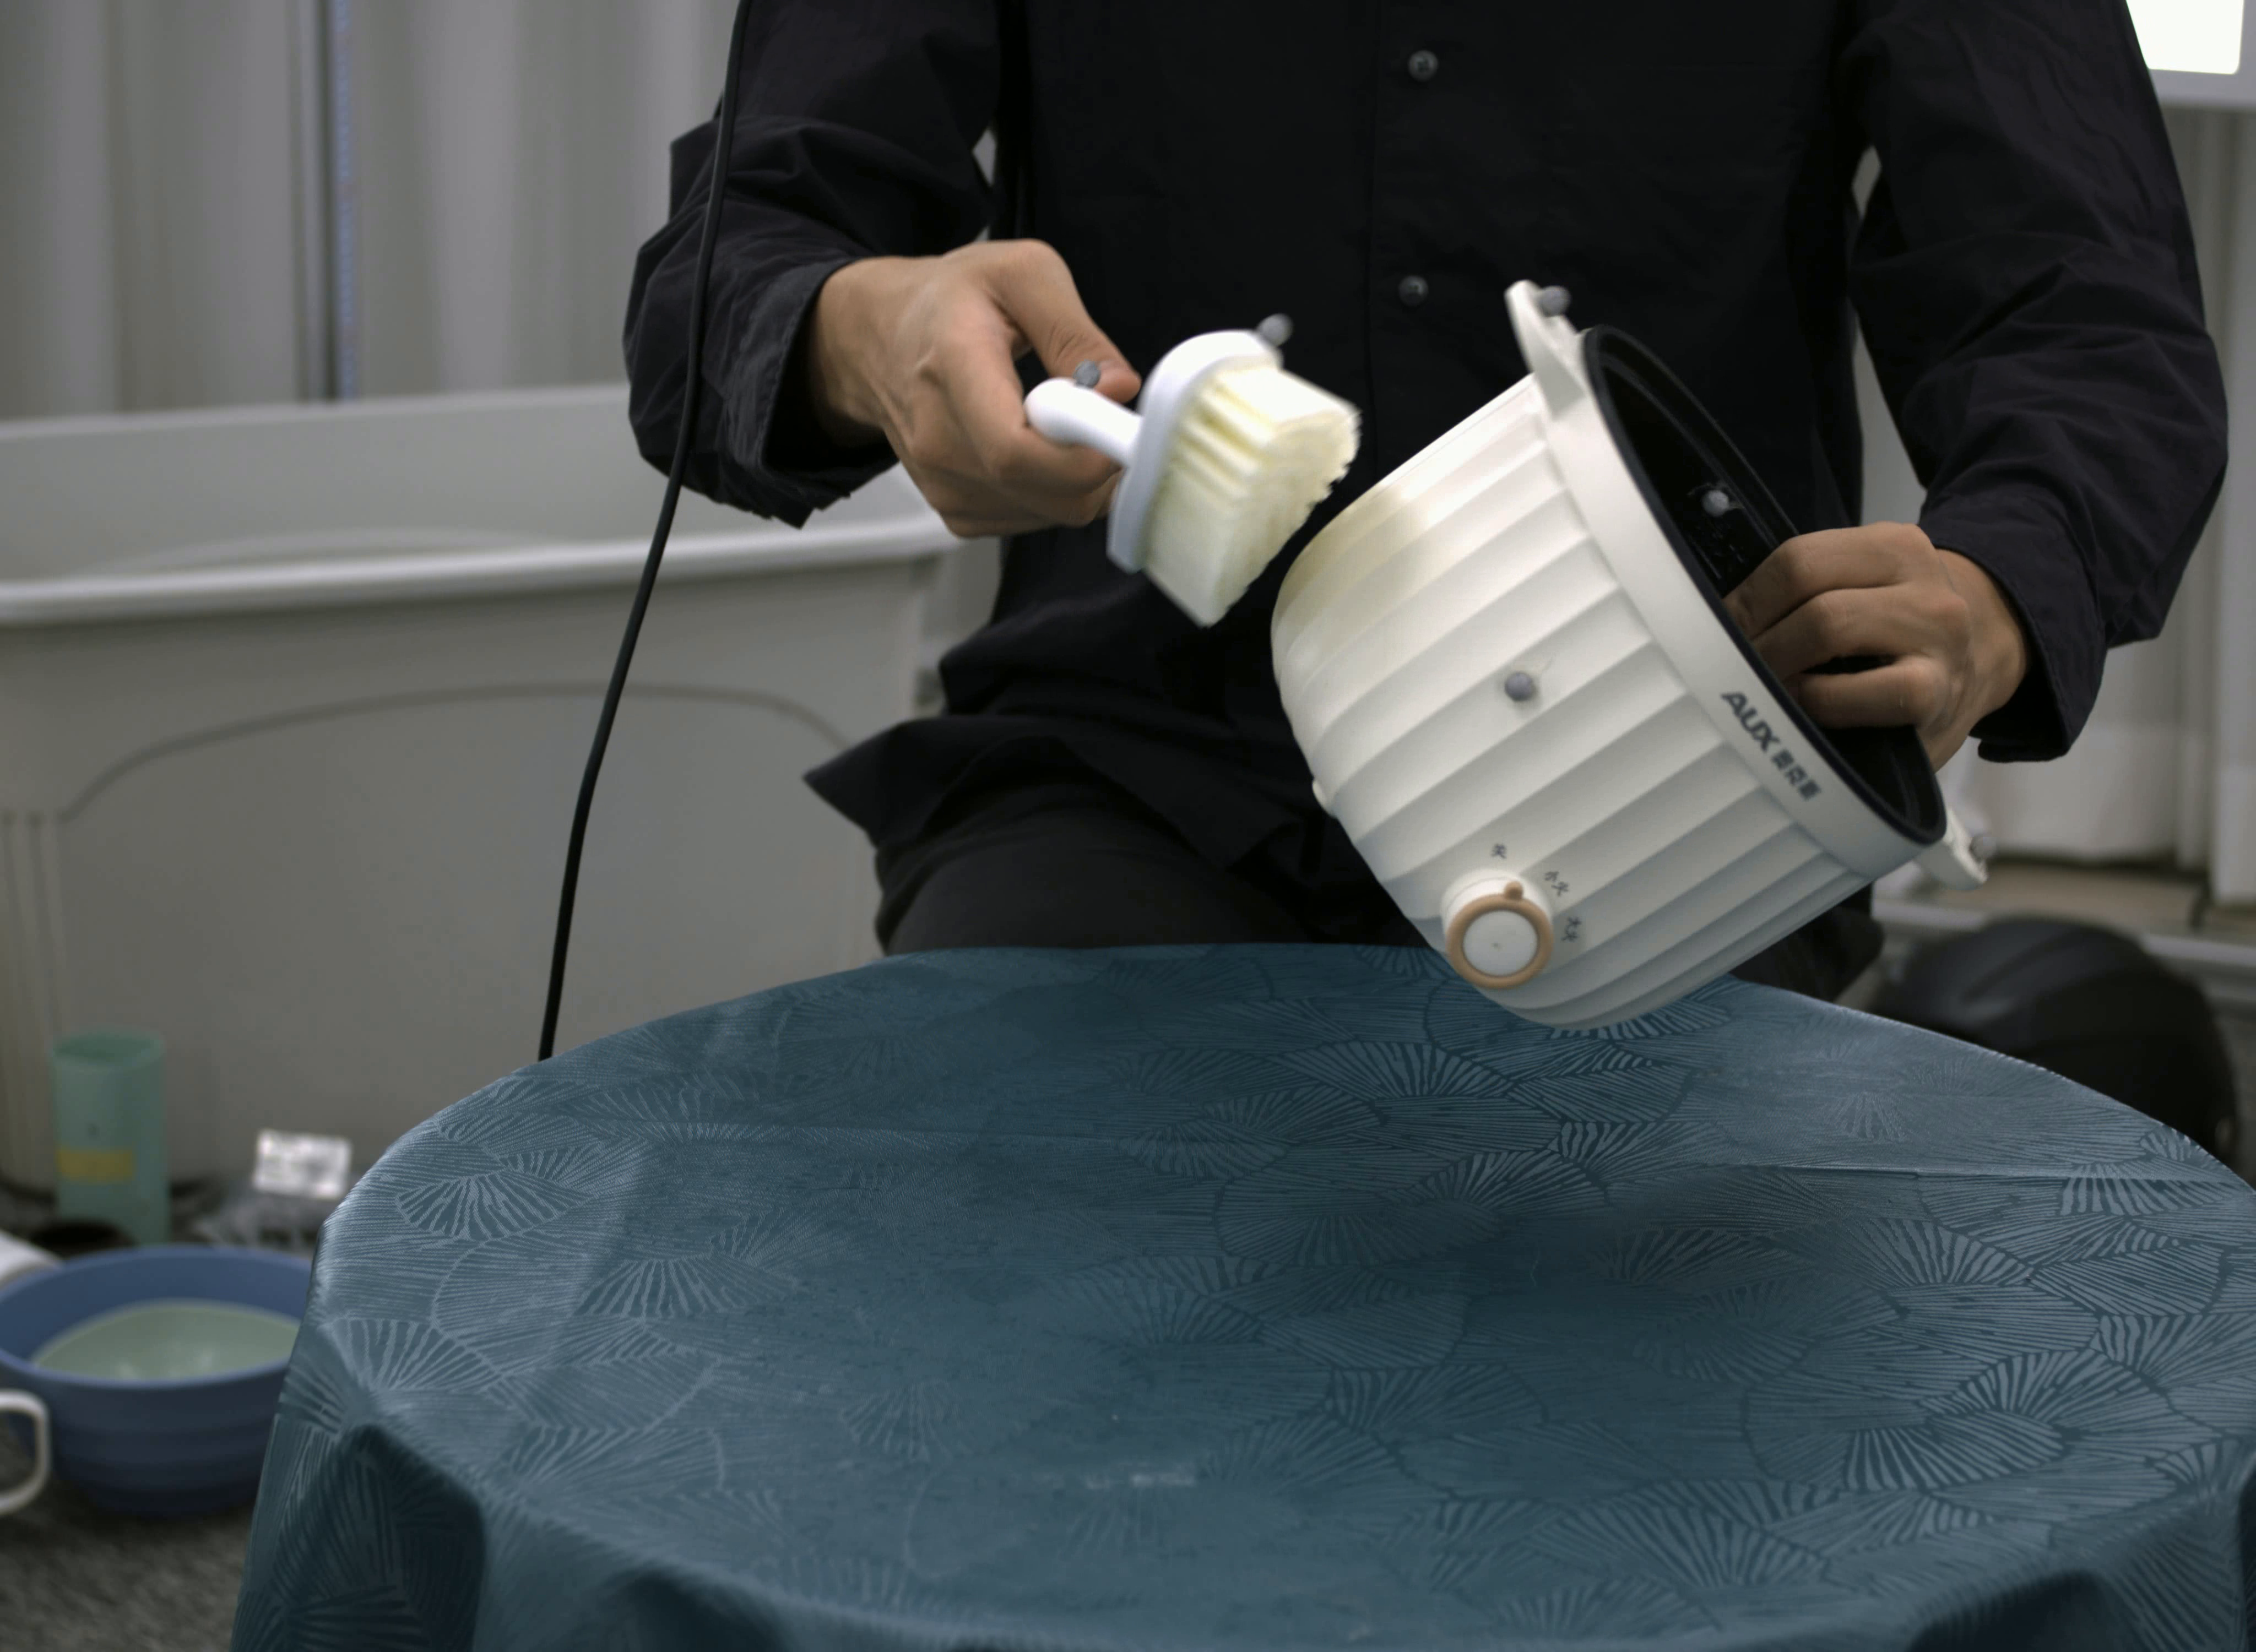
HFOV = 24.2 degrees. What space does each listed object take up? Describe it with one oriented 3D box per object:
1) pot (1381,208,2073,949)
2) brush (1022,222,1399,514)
[{"bbox_3d":[0.168,-0.056,1.576,0.142,0.243,0.189,-36,25,14],"label":"pot"},{"bbox_3d":[0.032,-0.136,1.634,0.083,0.085,0.324,-13,1,-9],"label":"brush"}]
